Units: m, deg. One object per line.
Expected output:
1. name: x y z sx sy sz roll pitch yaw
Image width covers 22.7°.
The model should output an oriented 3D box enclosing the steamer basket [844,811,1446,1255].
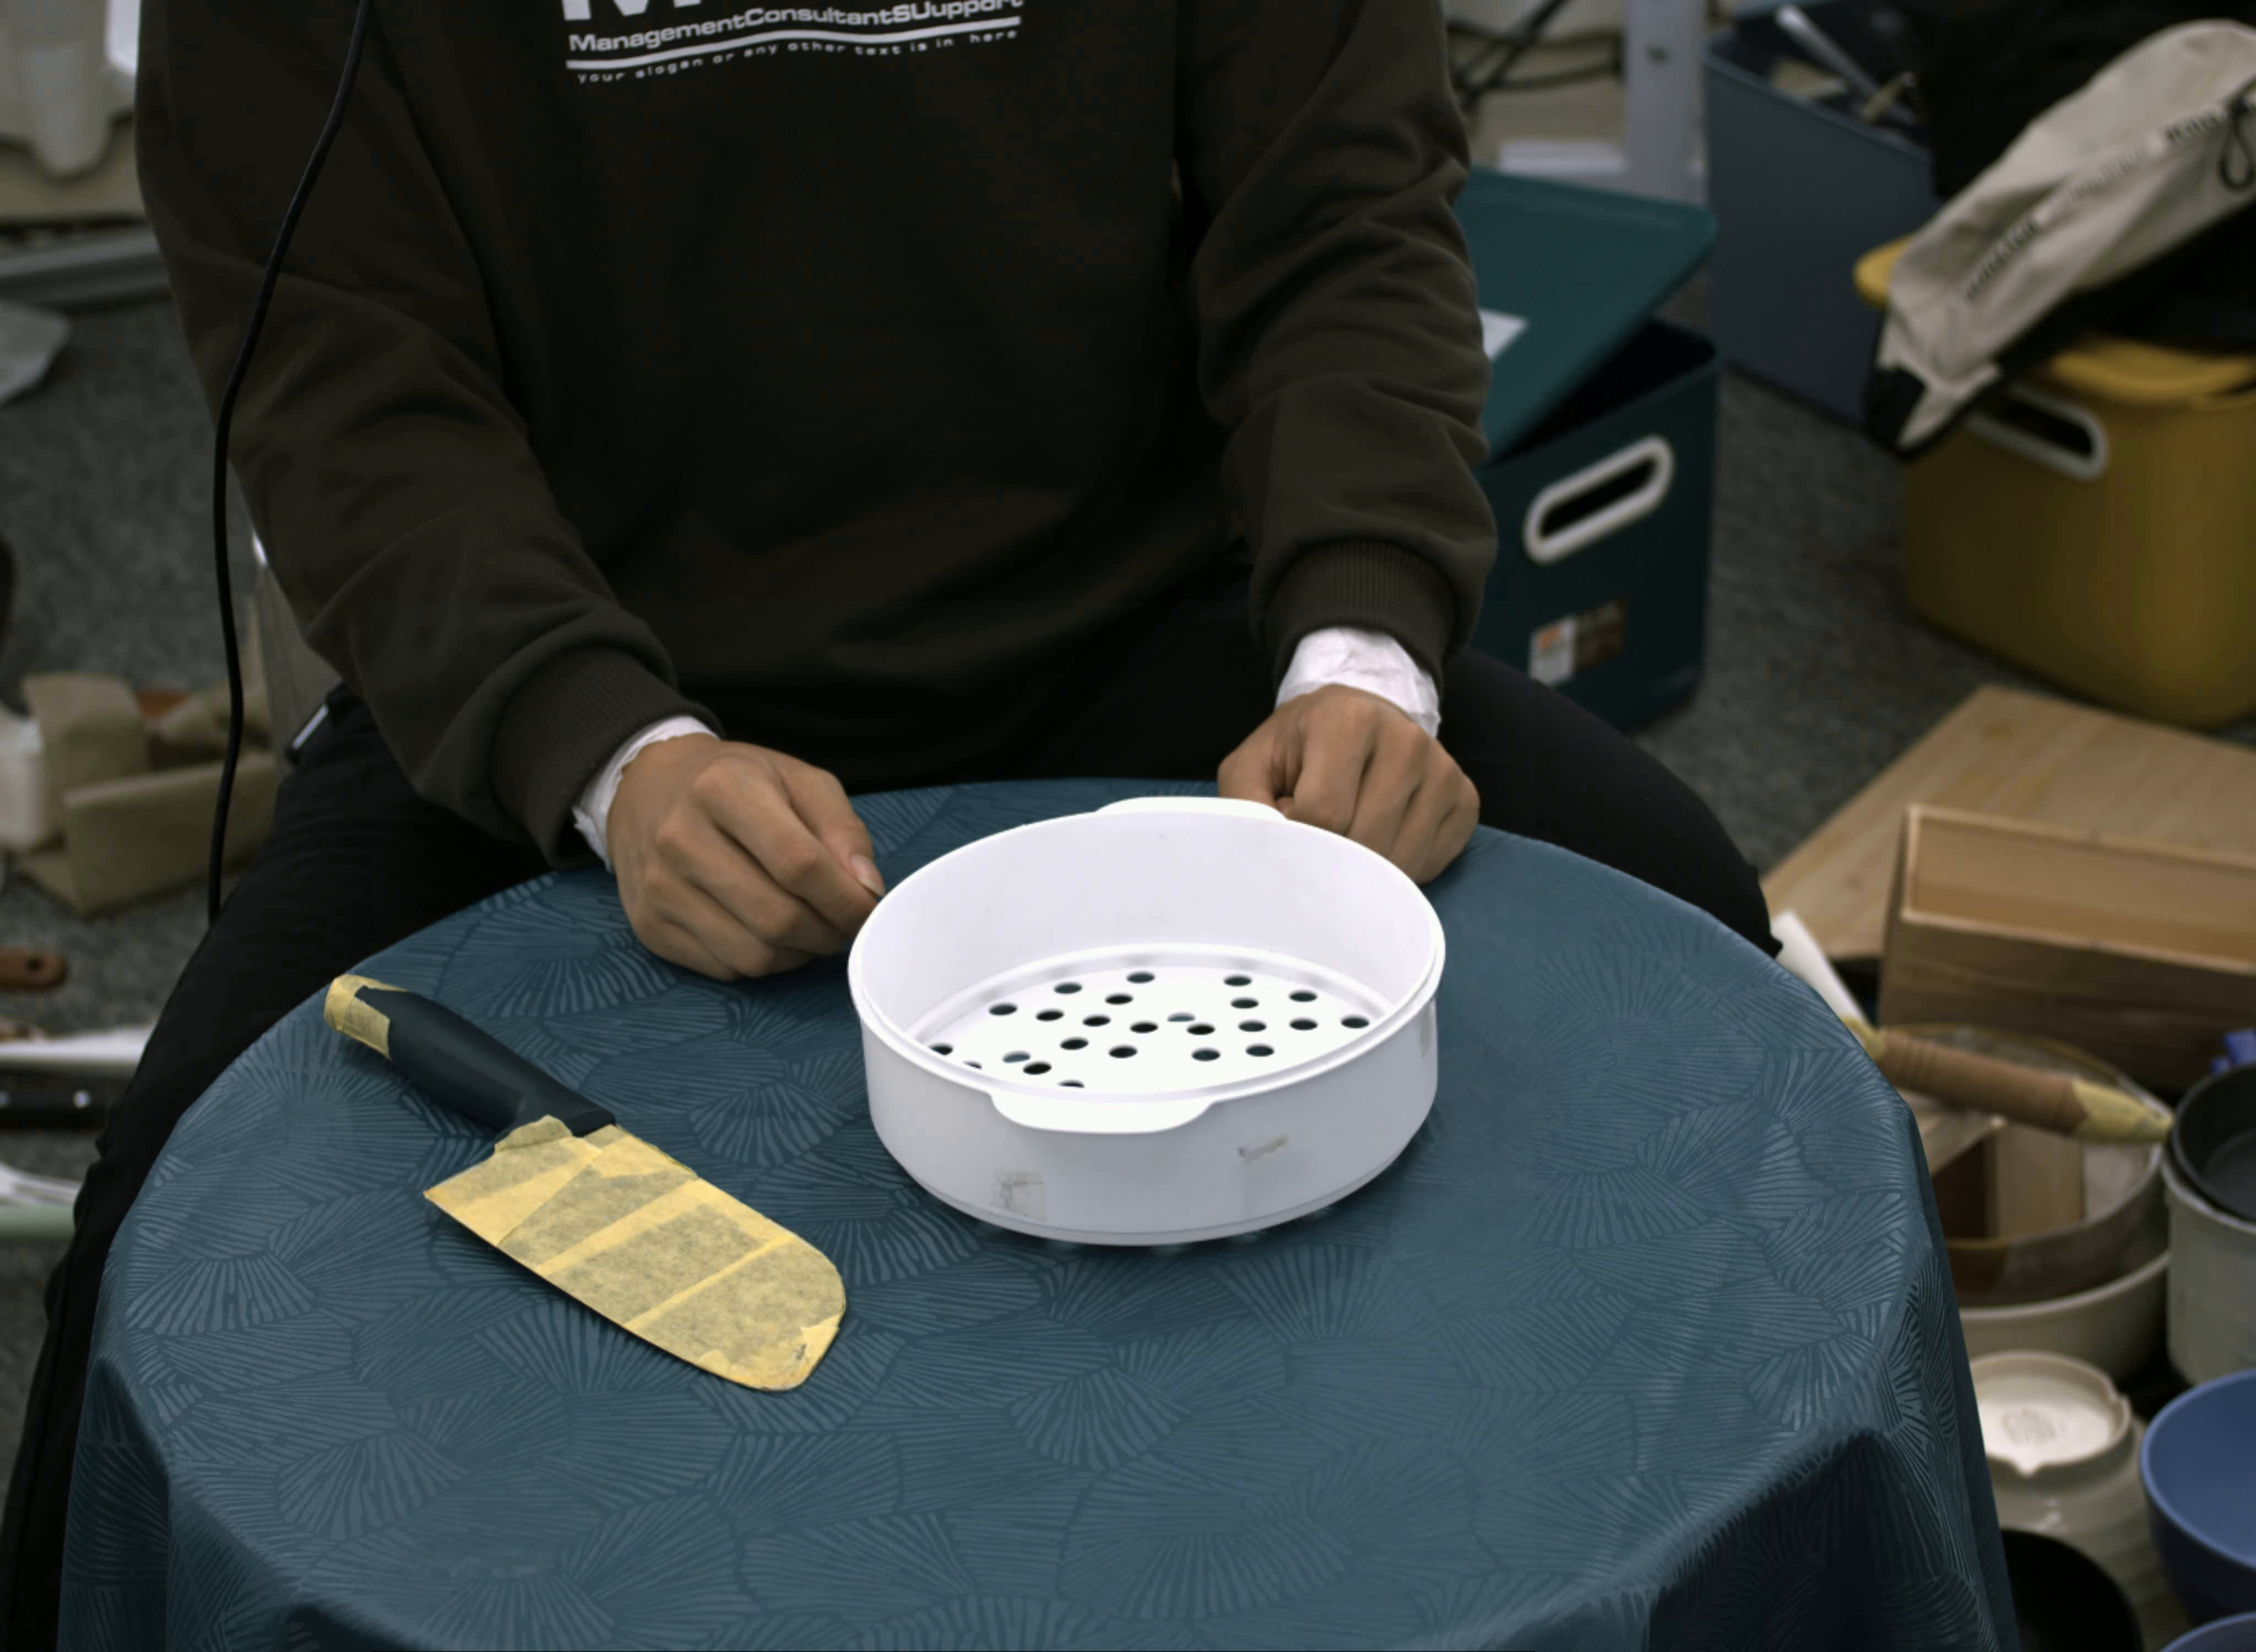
1. steamer basket: 0.007 0.071 1.887 0.200 0.068 0.234 3 26 9

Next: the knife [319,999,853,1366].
1. knife: -0.191 0.120 1.867 0.082 0.027 0.289 -22 34 -35
